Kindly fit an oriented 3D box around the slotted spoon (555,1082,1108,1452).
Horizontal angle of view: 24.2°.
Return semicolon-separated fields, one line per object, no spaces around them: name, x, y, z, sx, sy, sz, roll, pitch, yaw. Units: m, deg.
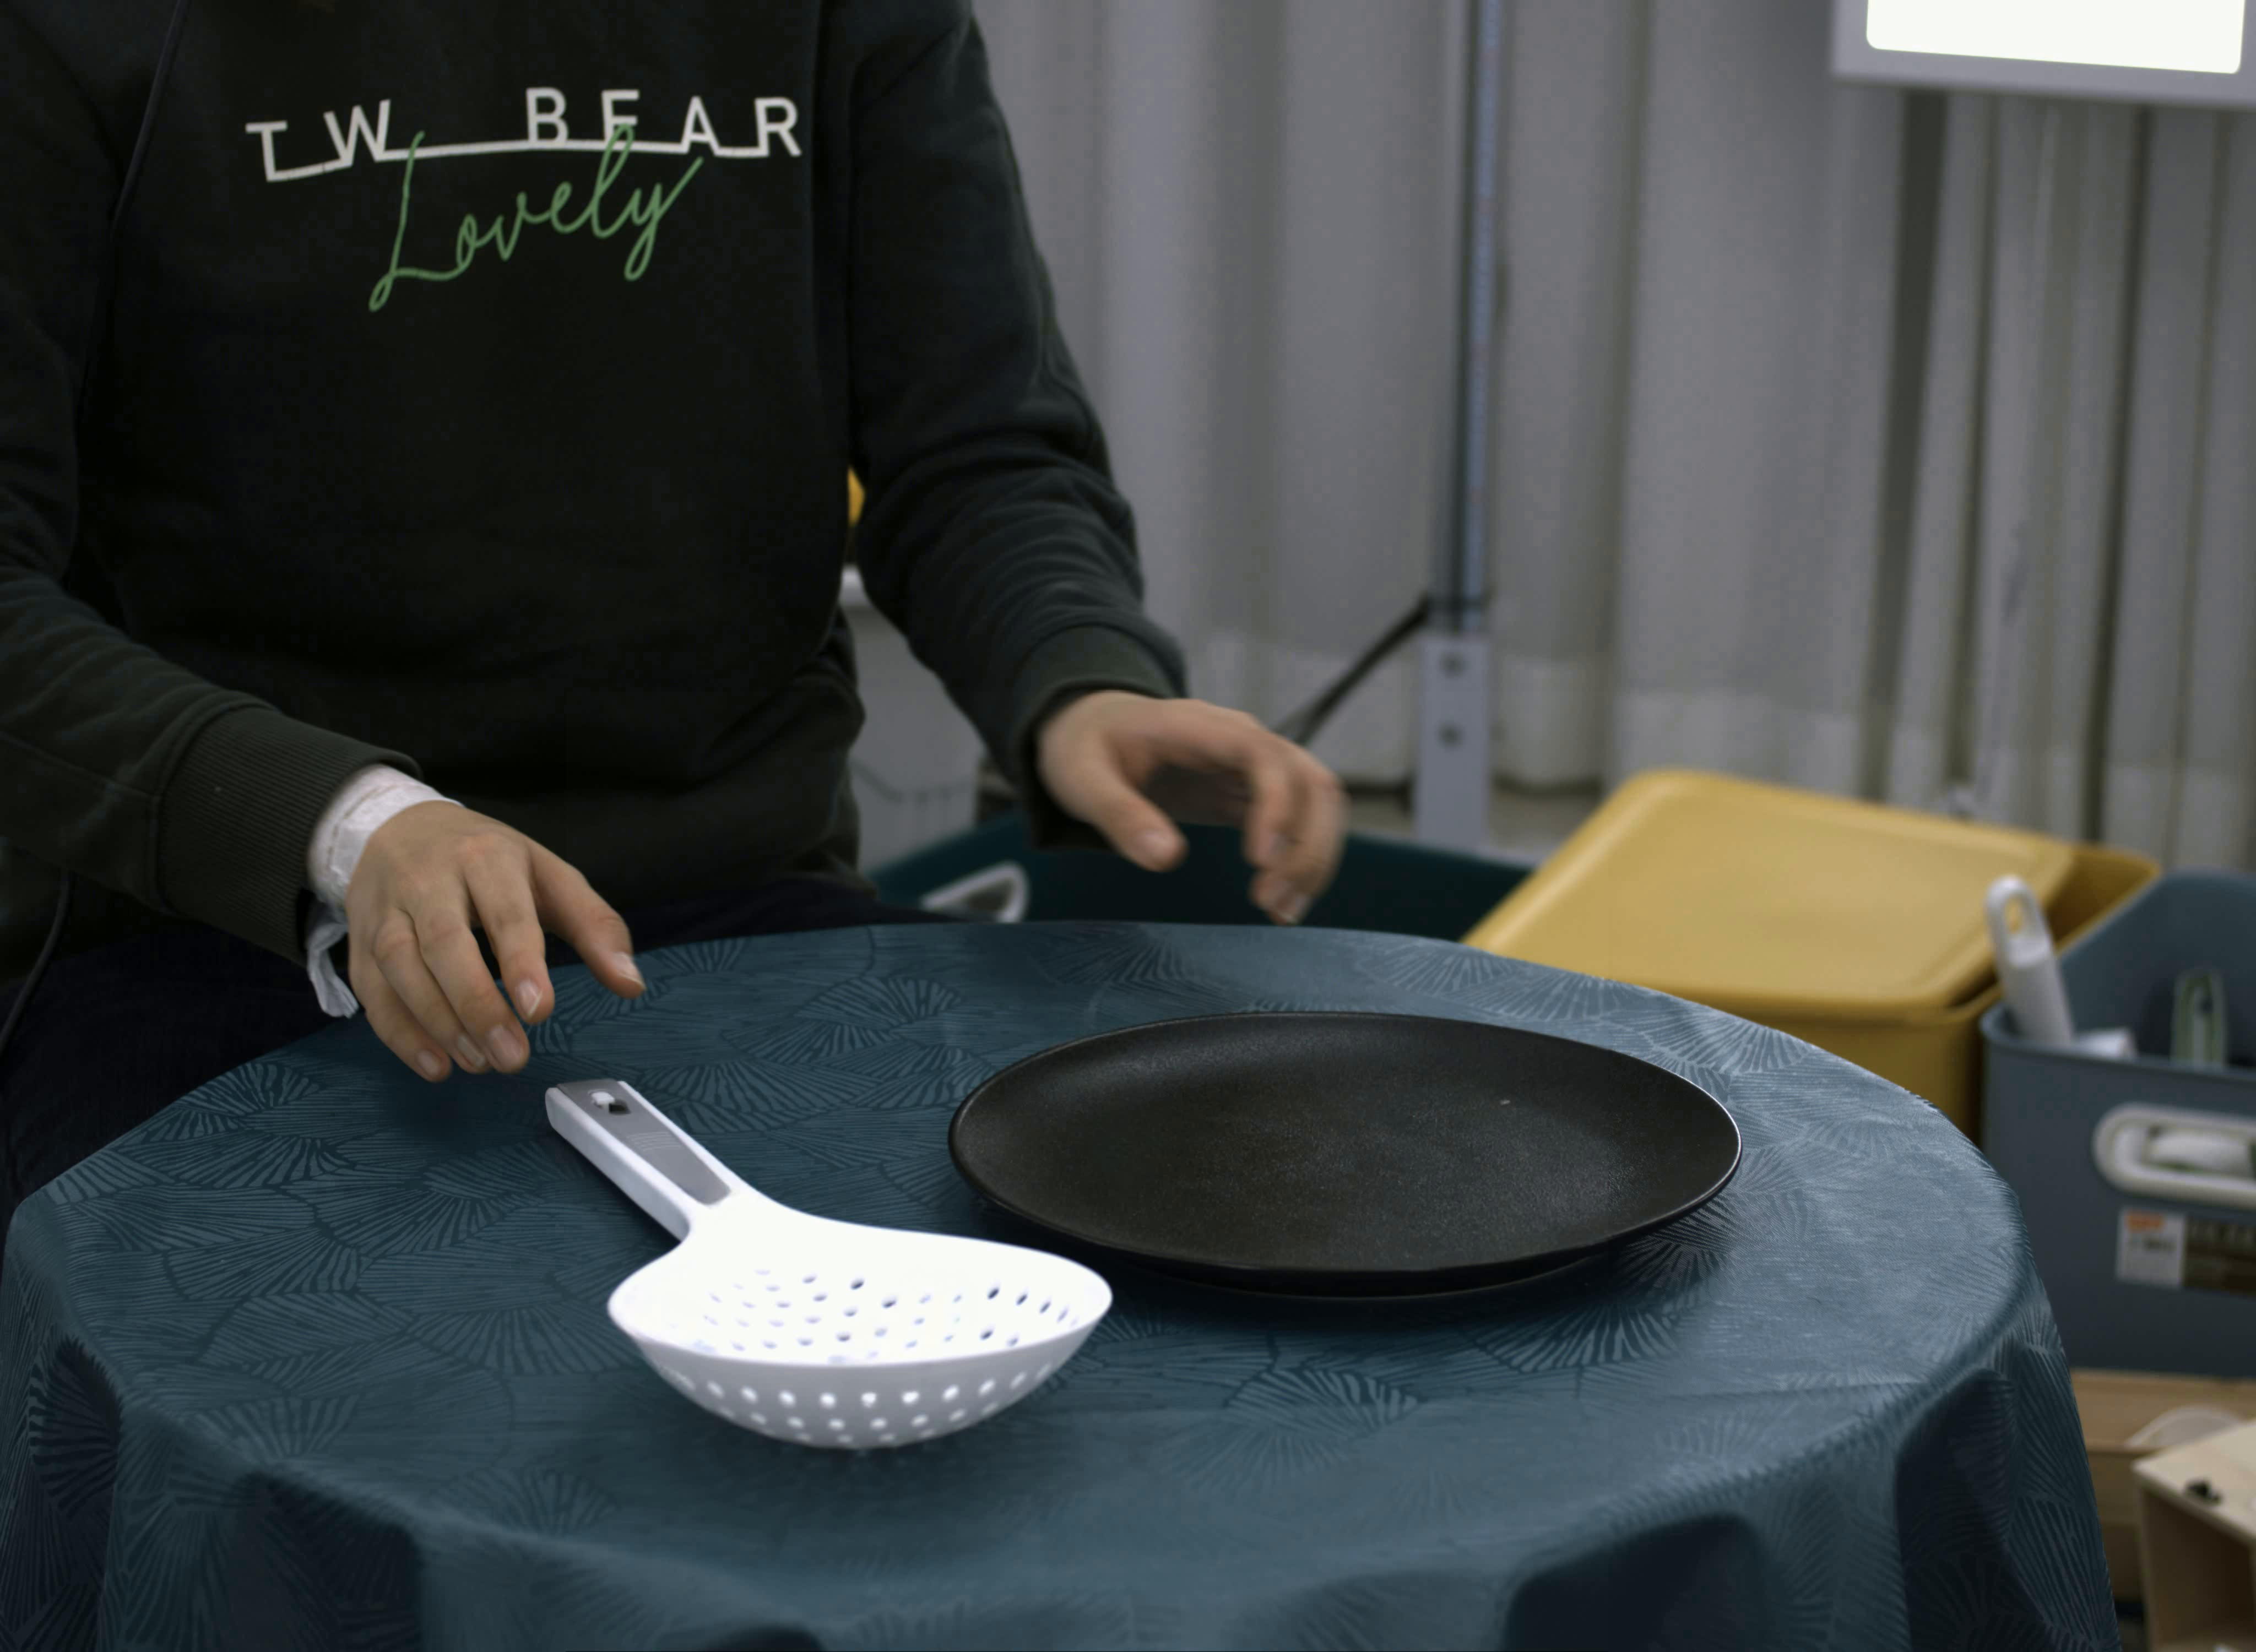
slotted spoon;-0.111;0.117;1.521;0.136;0.046;0.346;-3;15;-21

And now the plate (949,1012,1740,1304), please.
plate;0.066;0.103;1.619;0.243;0.023;0.243;1;16;0
